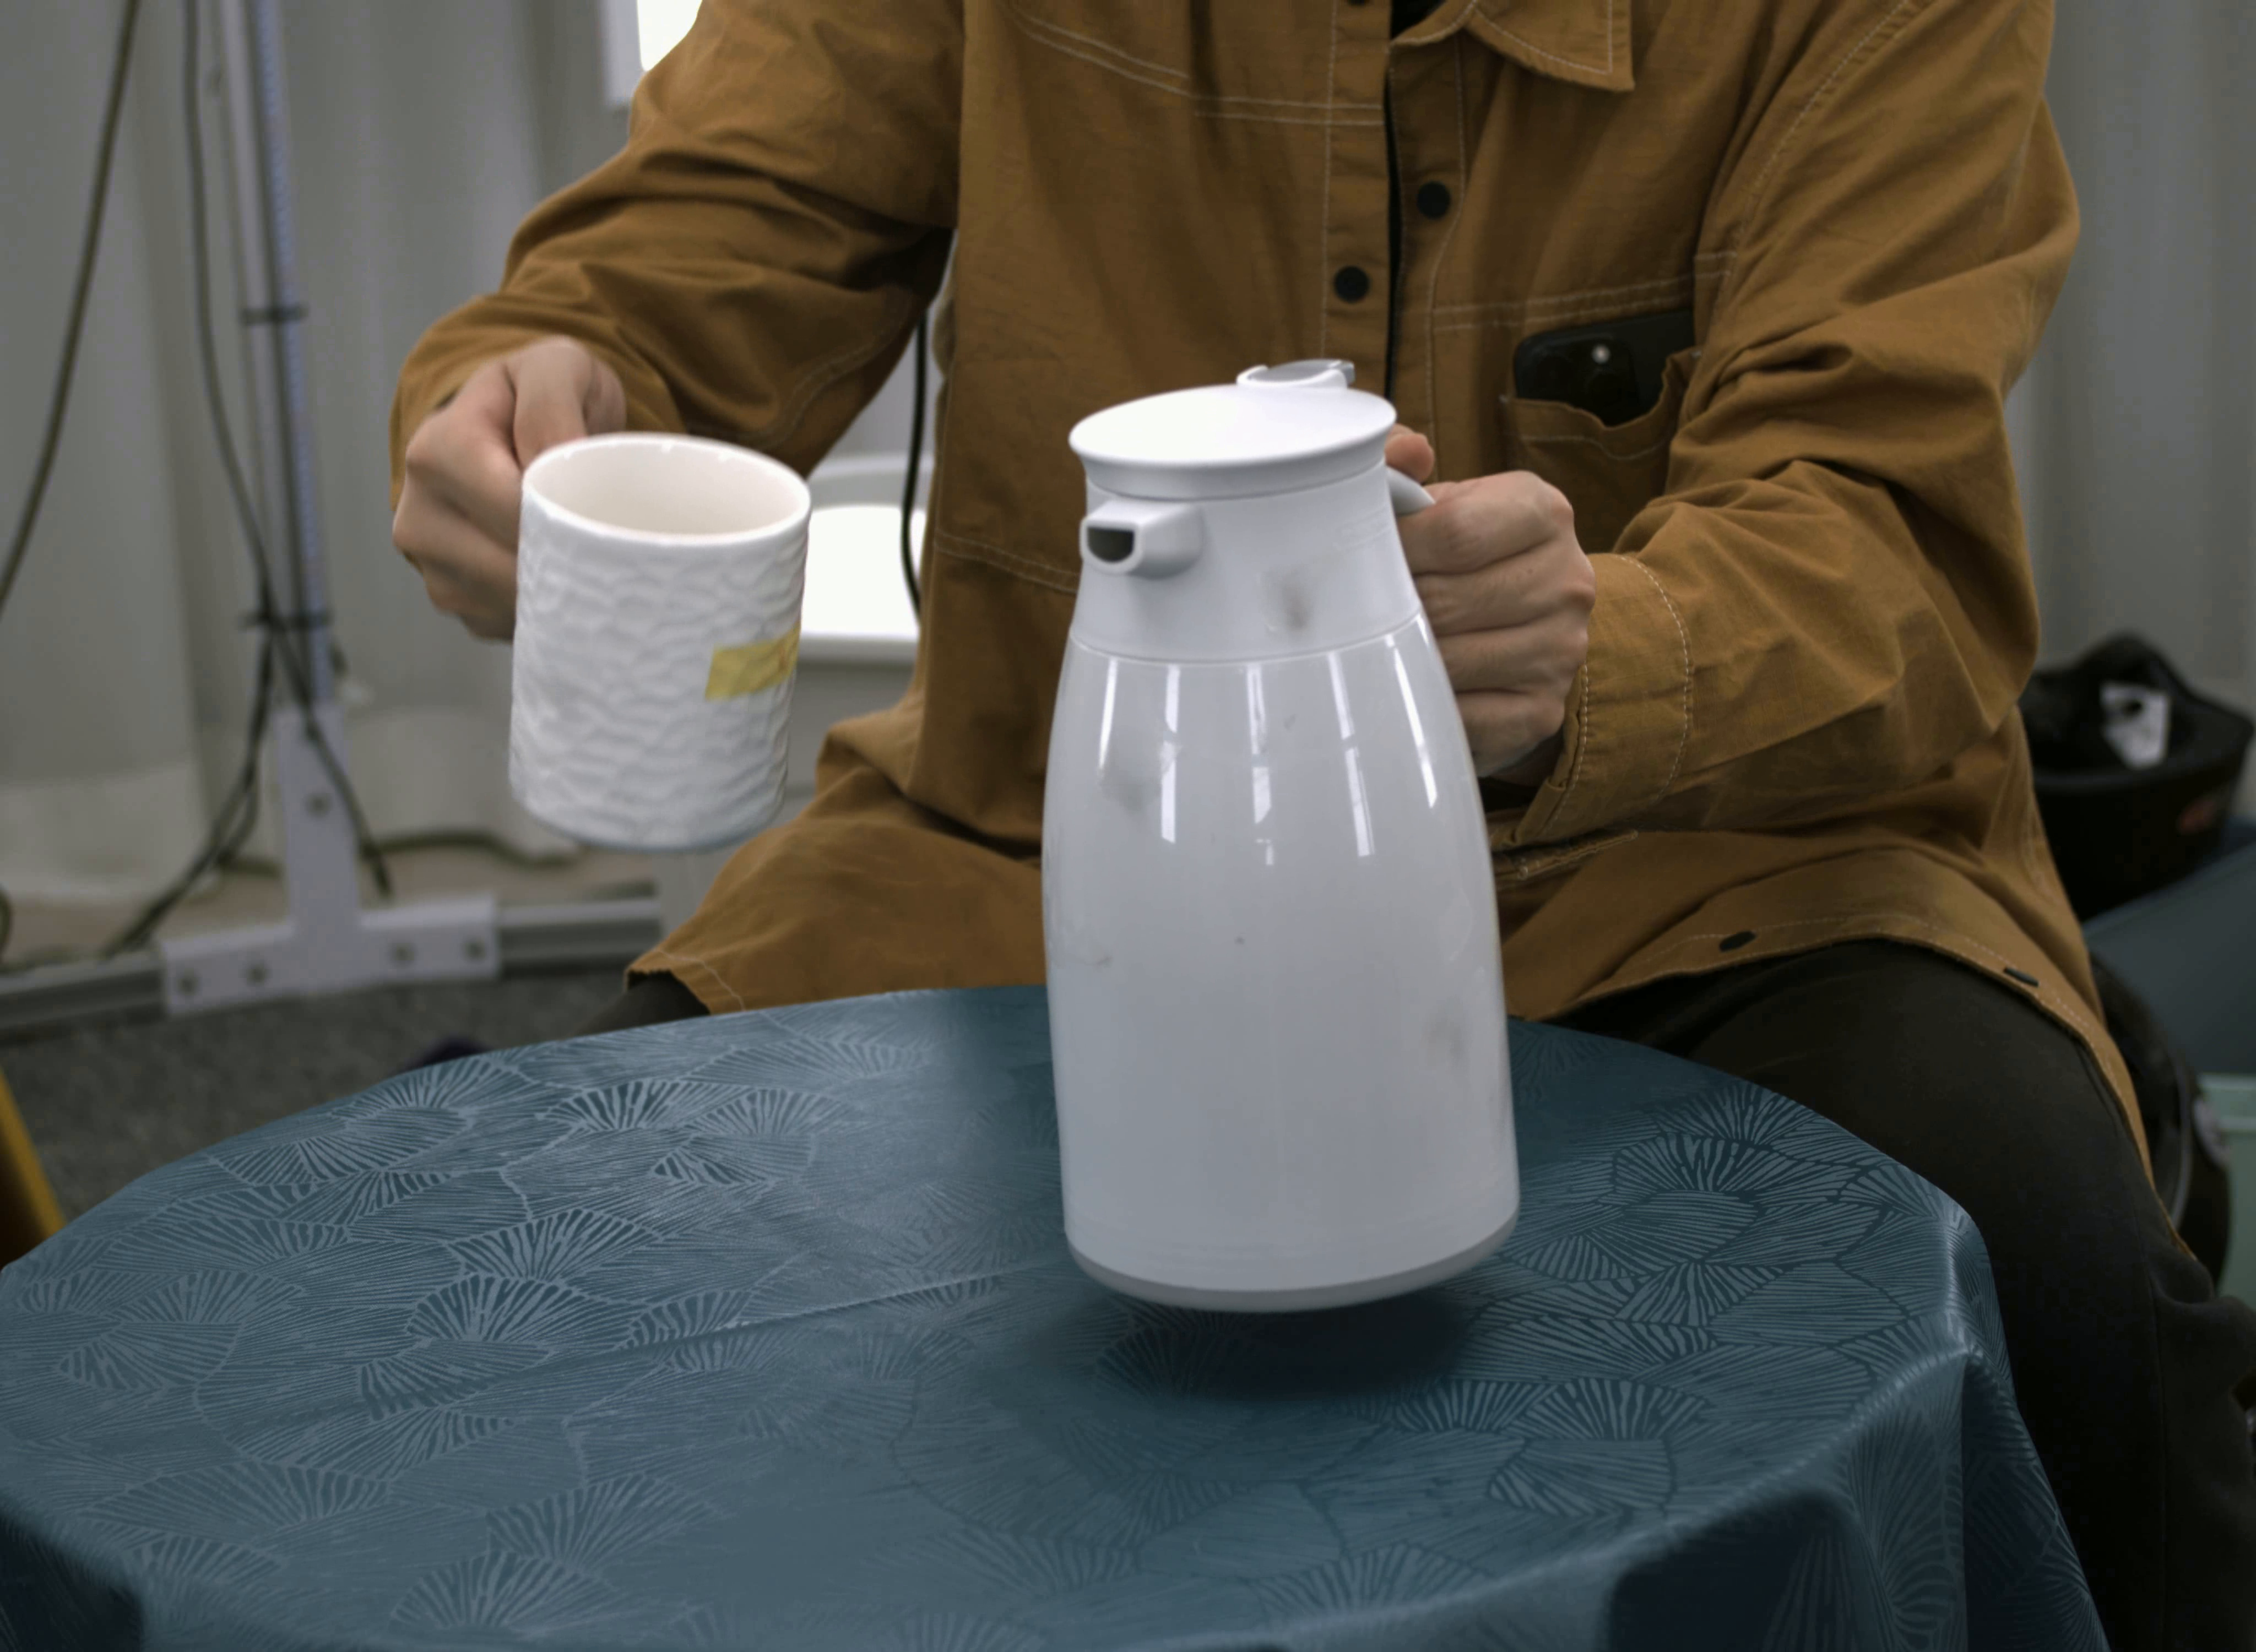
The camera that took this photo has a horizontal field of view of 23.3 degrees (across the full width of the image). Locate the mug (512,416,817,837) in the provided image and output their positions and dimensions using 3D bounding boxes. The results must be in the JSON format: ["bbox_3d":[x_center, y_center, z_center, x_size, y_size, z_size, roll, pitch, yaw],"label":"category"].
[{"bbox_3d":[-0.148,-0.065,1.635,0.084,0.101,0.119,-12,29,-35],"label":"mug"}]

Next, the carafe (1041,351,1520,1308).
[{"bbox_3d":[0.047,-0.008,1.565,0.133,0.247,0.168,5,17,33],"label":"carafe"}]
